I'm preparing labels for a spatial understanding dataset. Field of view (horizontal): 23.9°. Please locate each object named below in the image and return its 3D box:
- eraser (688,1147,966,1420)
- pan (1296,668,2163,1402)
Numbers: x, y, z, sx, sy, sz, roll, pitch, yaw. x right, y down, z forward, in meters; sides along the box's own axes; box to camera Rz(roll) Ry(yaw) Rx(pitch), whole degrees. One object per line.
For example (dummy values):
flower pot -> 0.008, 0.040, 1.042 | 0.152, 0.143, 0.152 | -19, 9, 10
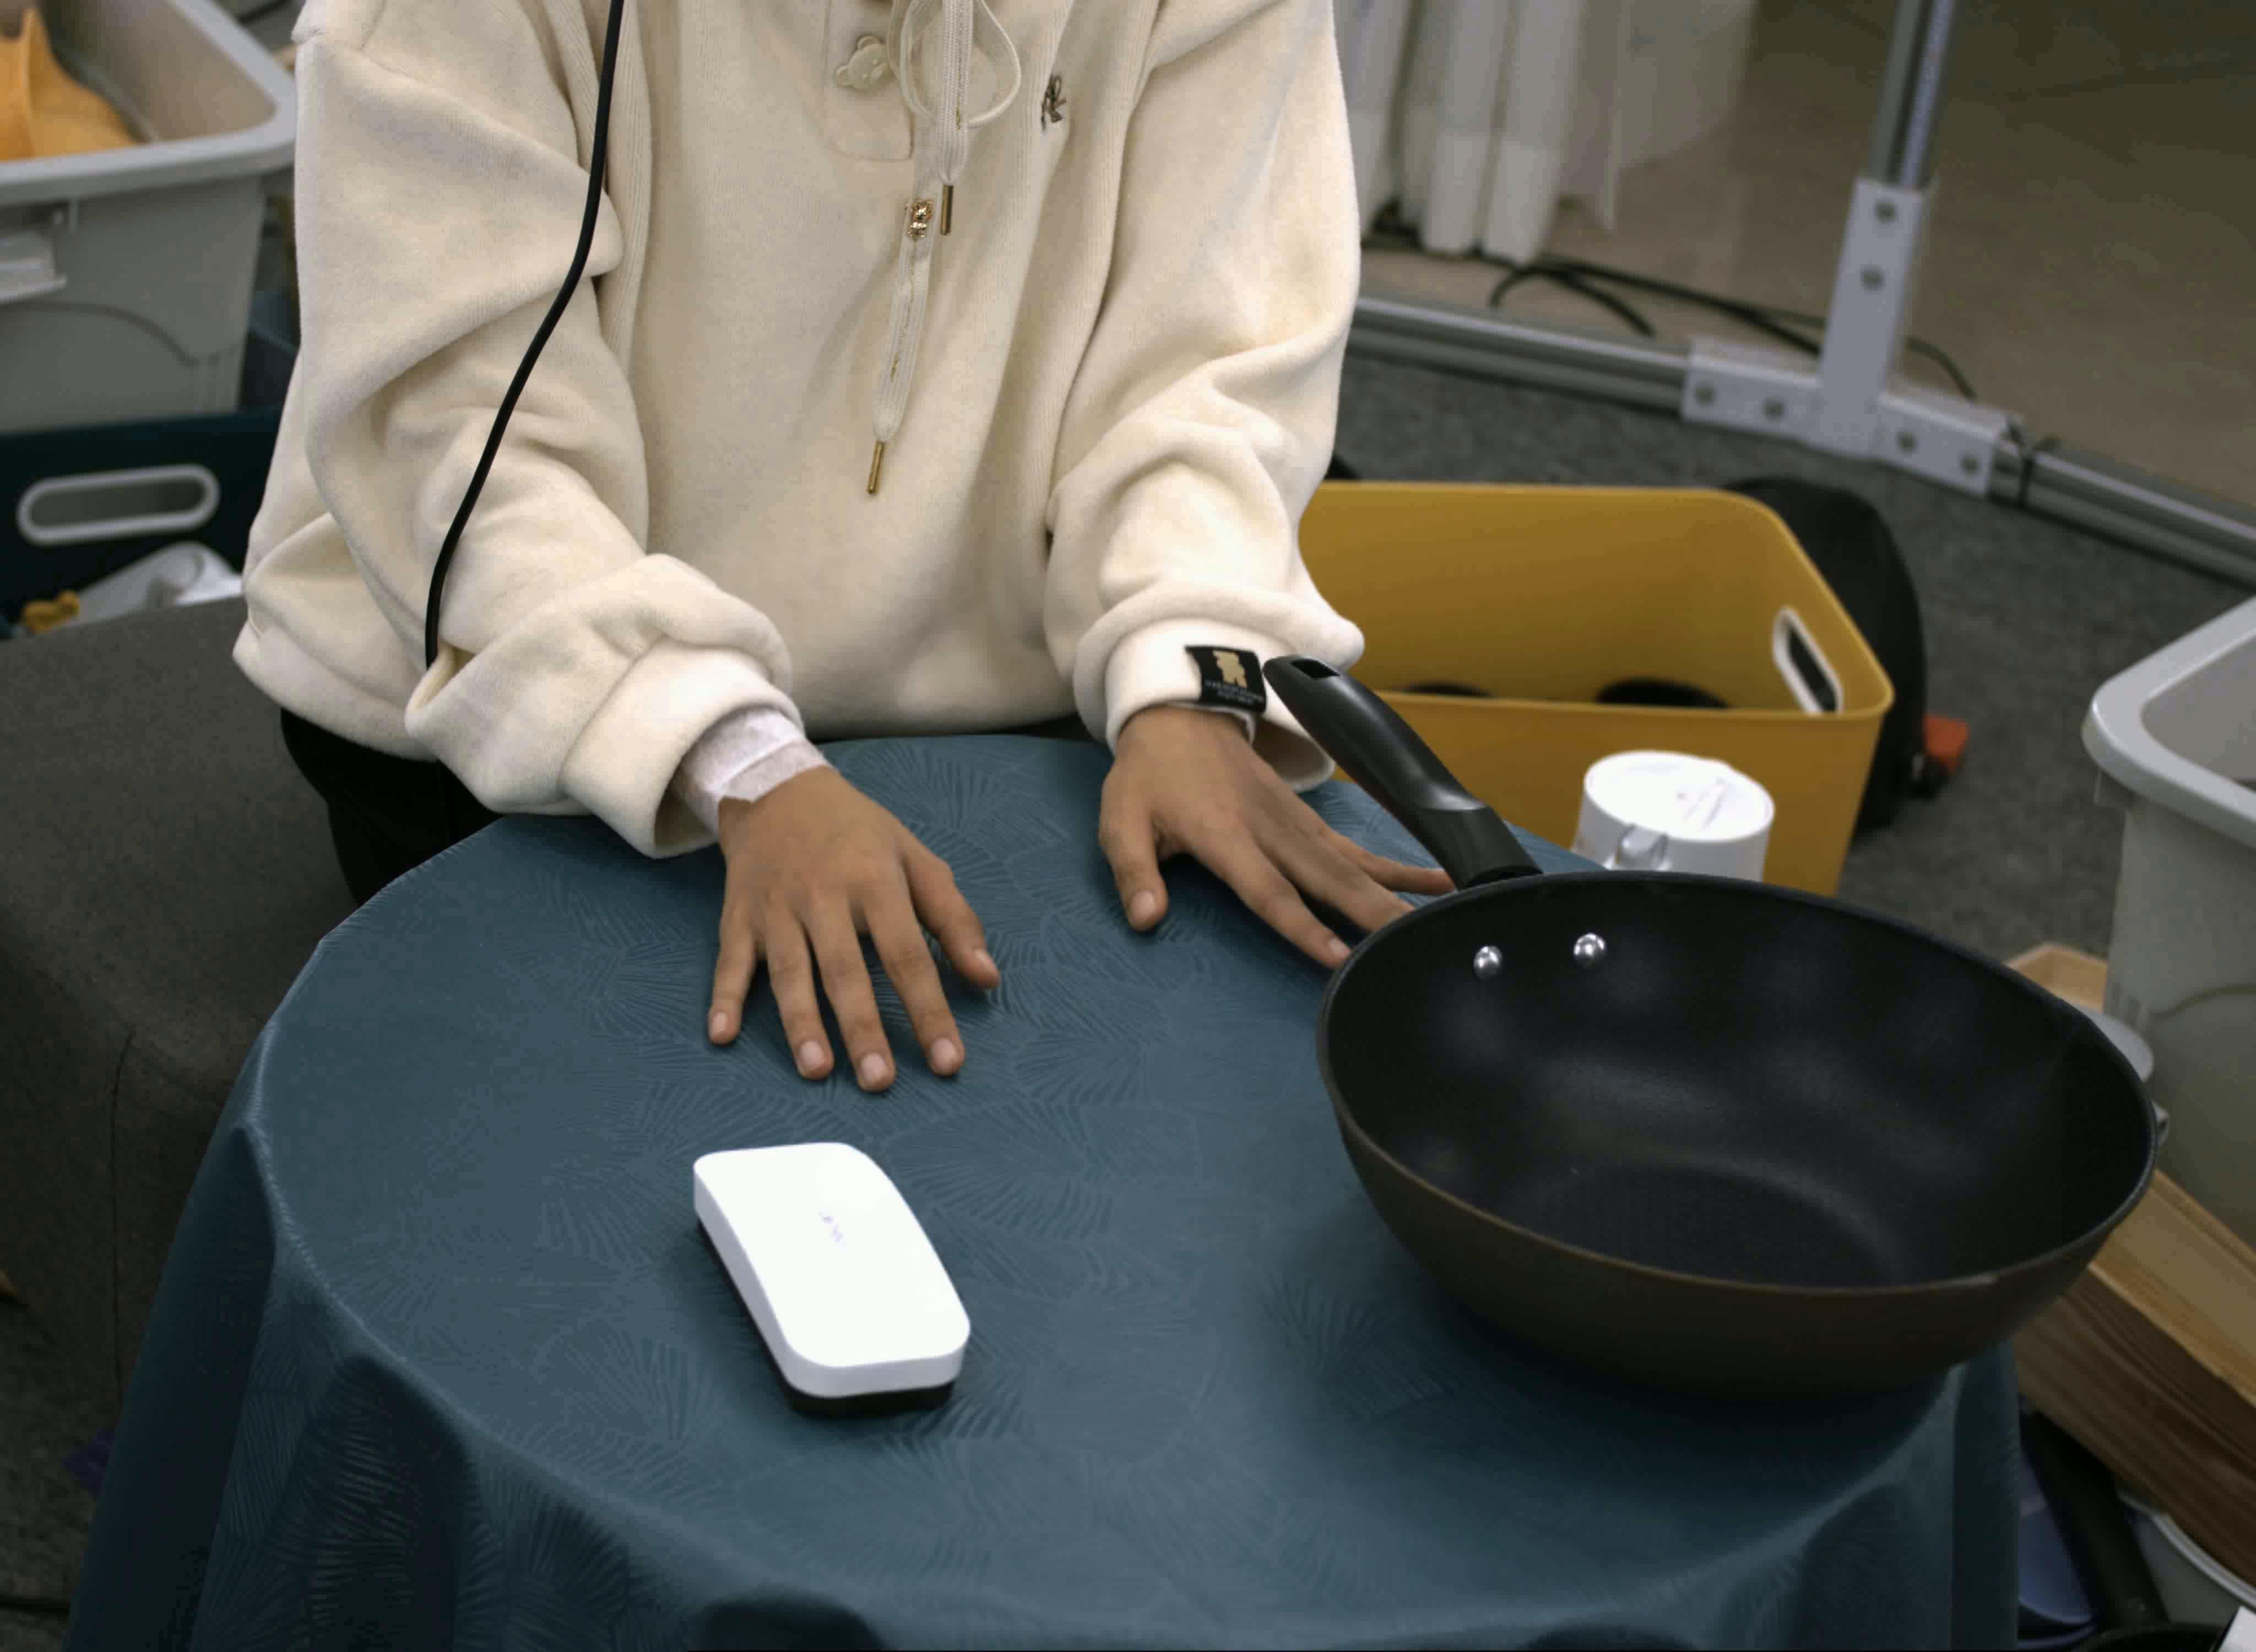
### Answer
eraser -> -0.097, 0.143, 1.709 | 0.063, 0.034, 0.132 | -1, 28, -22
pan -> 0.158, 0.074, 1.844 | 0.286, 0.086, 0.467 | -6, 28, -25
